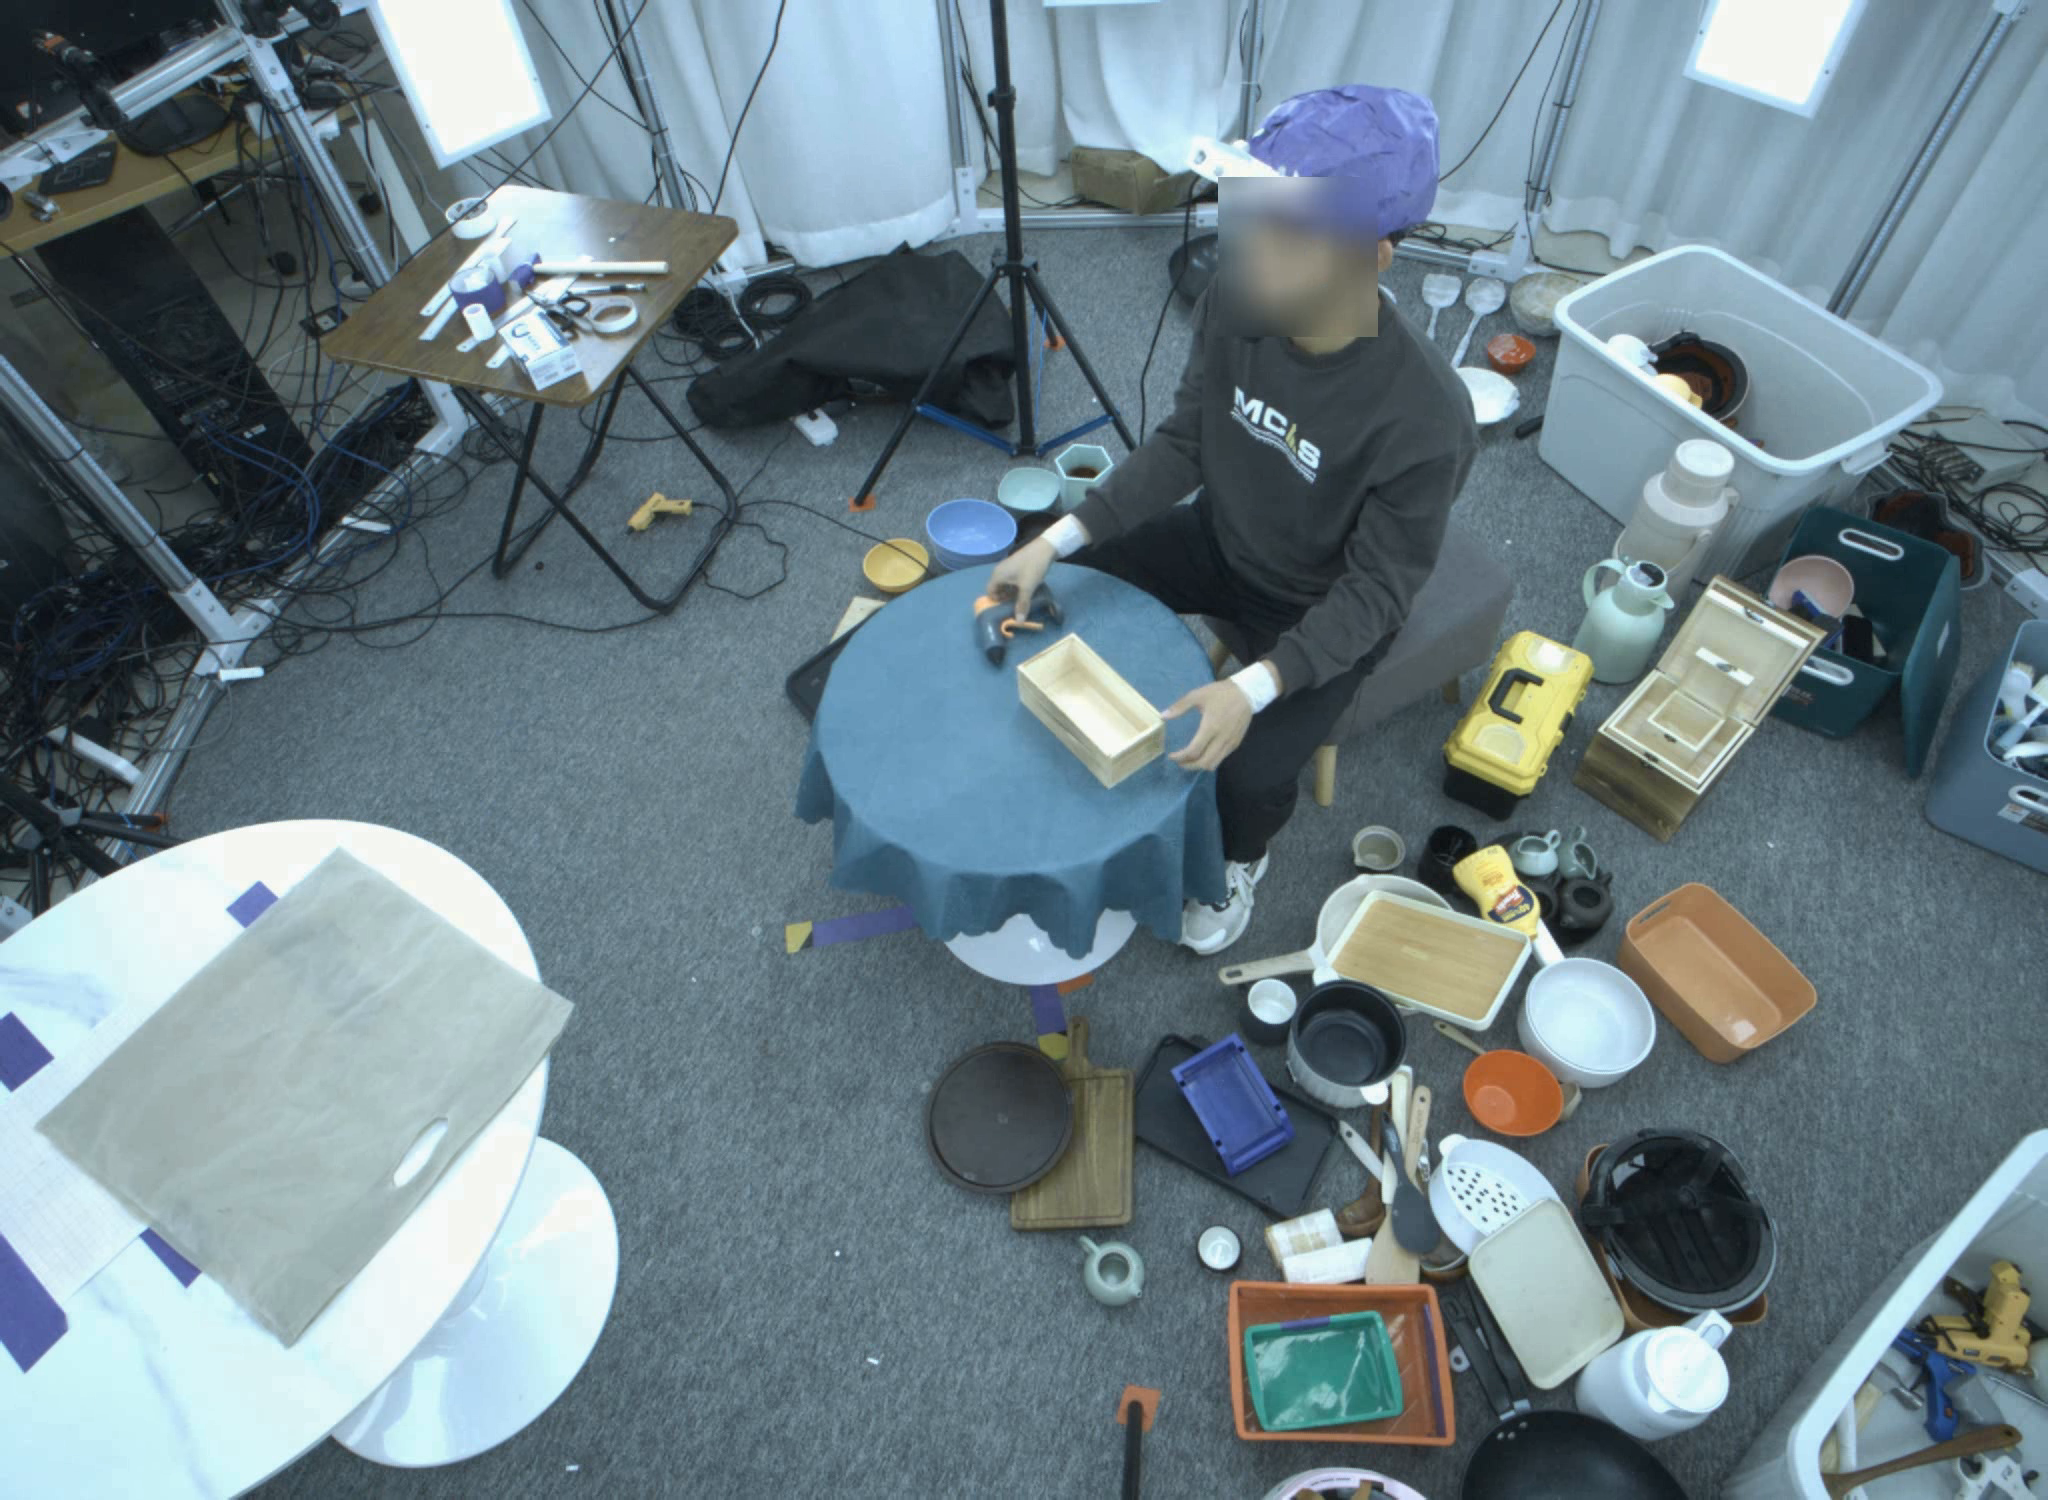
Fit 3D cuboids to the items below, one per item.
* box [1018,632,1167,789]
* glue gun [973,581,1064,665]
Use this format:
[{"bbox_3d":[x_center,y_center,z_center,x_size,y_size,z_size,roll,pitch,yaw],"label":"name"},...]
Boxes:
[{"bbox_3d":[0.097,-0.060,1.776,0.108,0.081,0.207,-33,59,-20],"label":"box"},{"bbox_3d":[-0.012,-0.199,1.909,0.141,0.041,0.116,-26,64,-14],"label":"glue gun"}]
